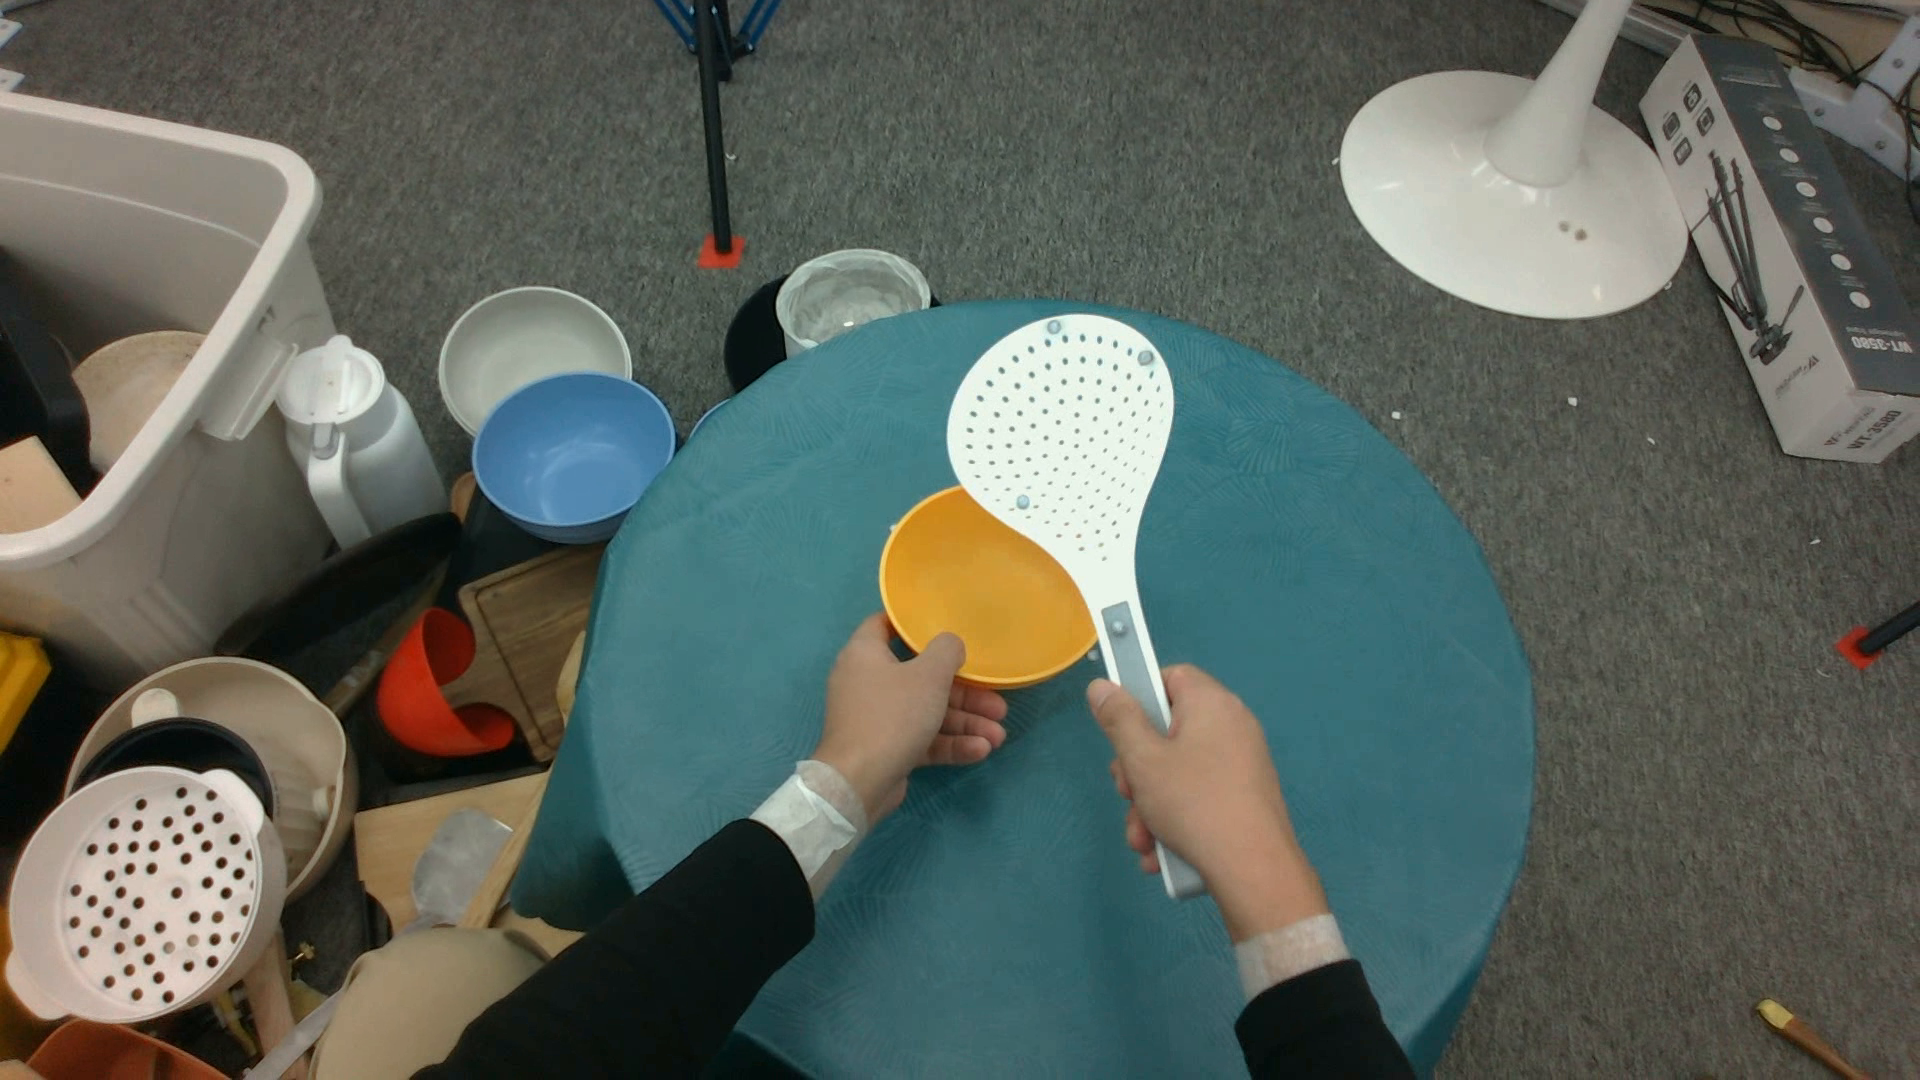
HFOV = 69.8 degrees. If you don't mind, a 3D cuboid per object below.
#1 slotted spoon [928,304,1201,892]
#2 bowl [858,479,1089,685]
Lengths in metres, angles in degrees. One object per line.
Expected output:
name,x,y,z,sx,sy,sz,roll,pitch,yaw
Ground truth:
slotted spoon,0.070,0.018,0.747,0.136,0.045,0.351,-20,56,12
bowl,0.009,0.036,0.860,0.145,0.060,0.146,2,56,-2
